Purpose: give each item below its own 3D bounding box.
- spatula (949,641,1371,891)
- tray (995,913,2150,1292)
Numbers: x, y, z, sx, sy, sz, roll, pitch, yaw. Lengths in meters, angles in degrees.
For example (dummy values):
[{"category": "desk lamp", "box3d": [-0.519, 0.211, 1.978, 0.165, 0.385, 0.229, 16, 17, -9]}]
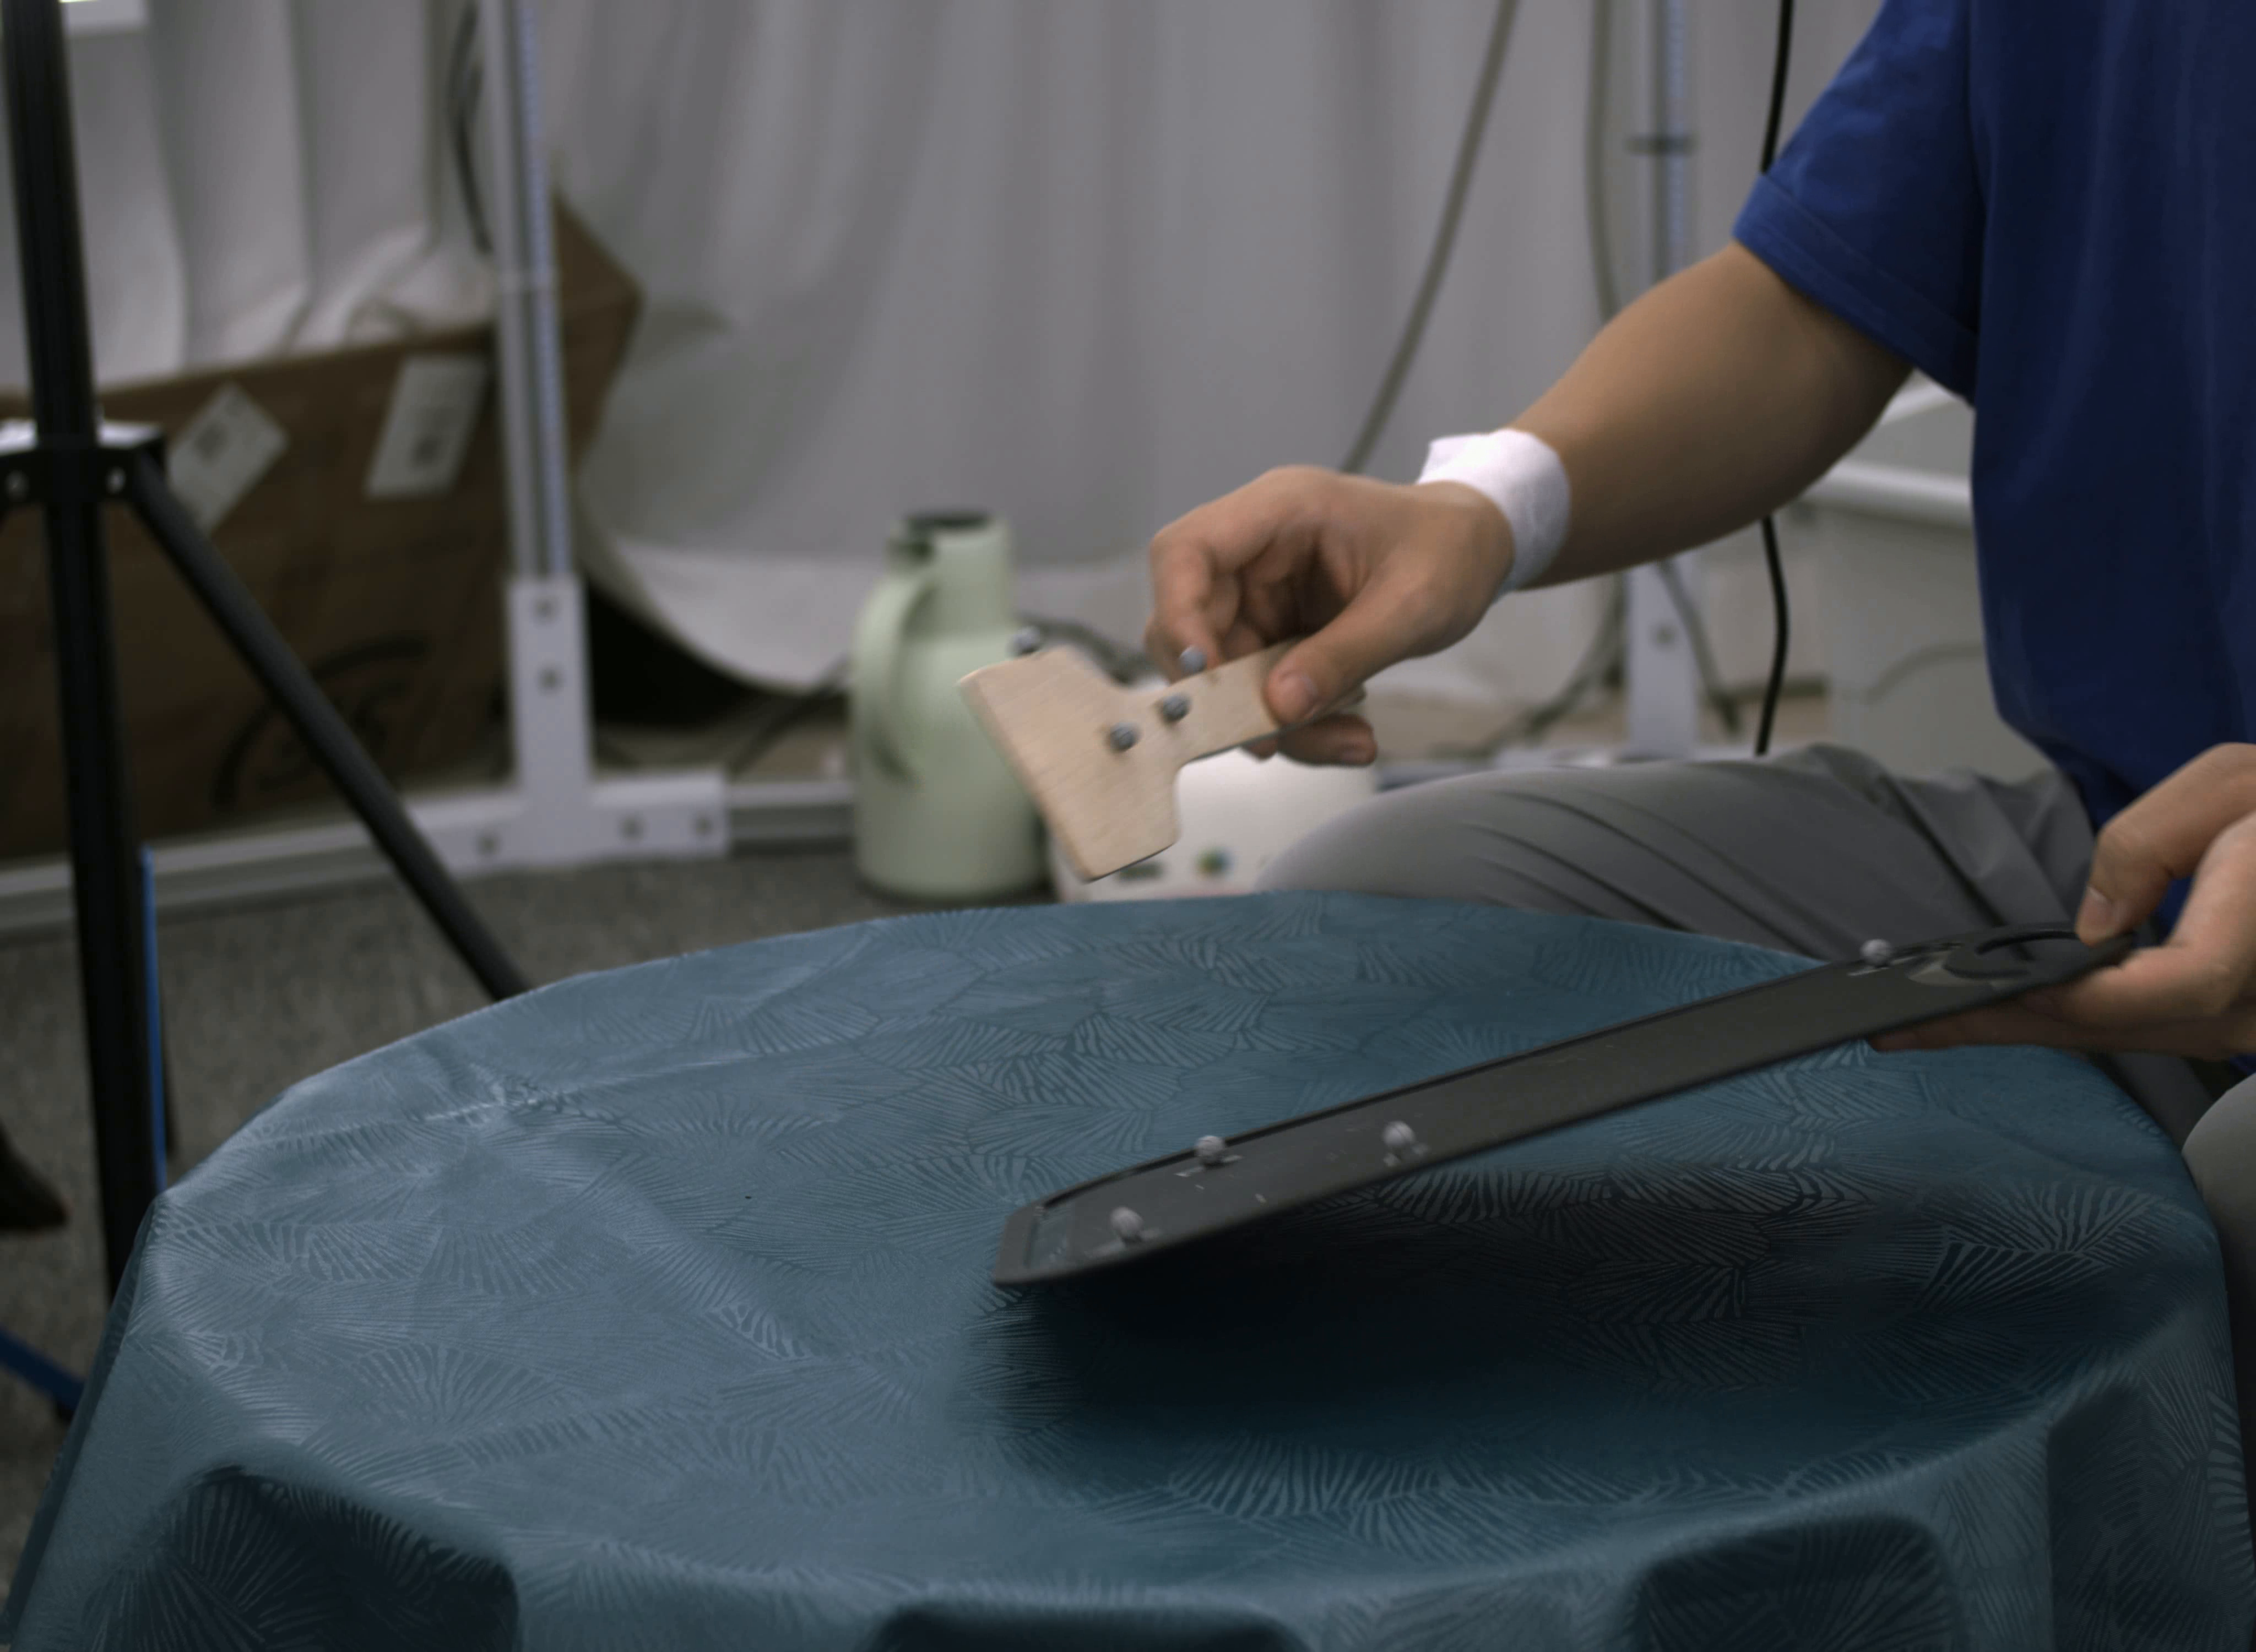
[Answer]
[{"category": "spatula", "box3d": [0.019, -0.031, 1.642, 0.011, 0.073, 0.288, -37, -7, 23]}, {"category": "tray", "box3d": [0.121, 0.071, 1.453, 0.325, 0.010, 0.211, -16, 3, 4]}]
